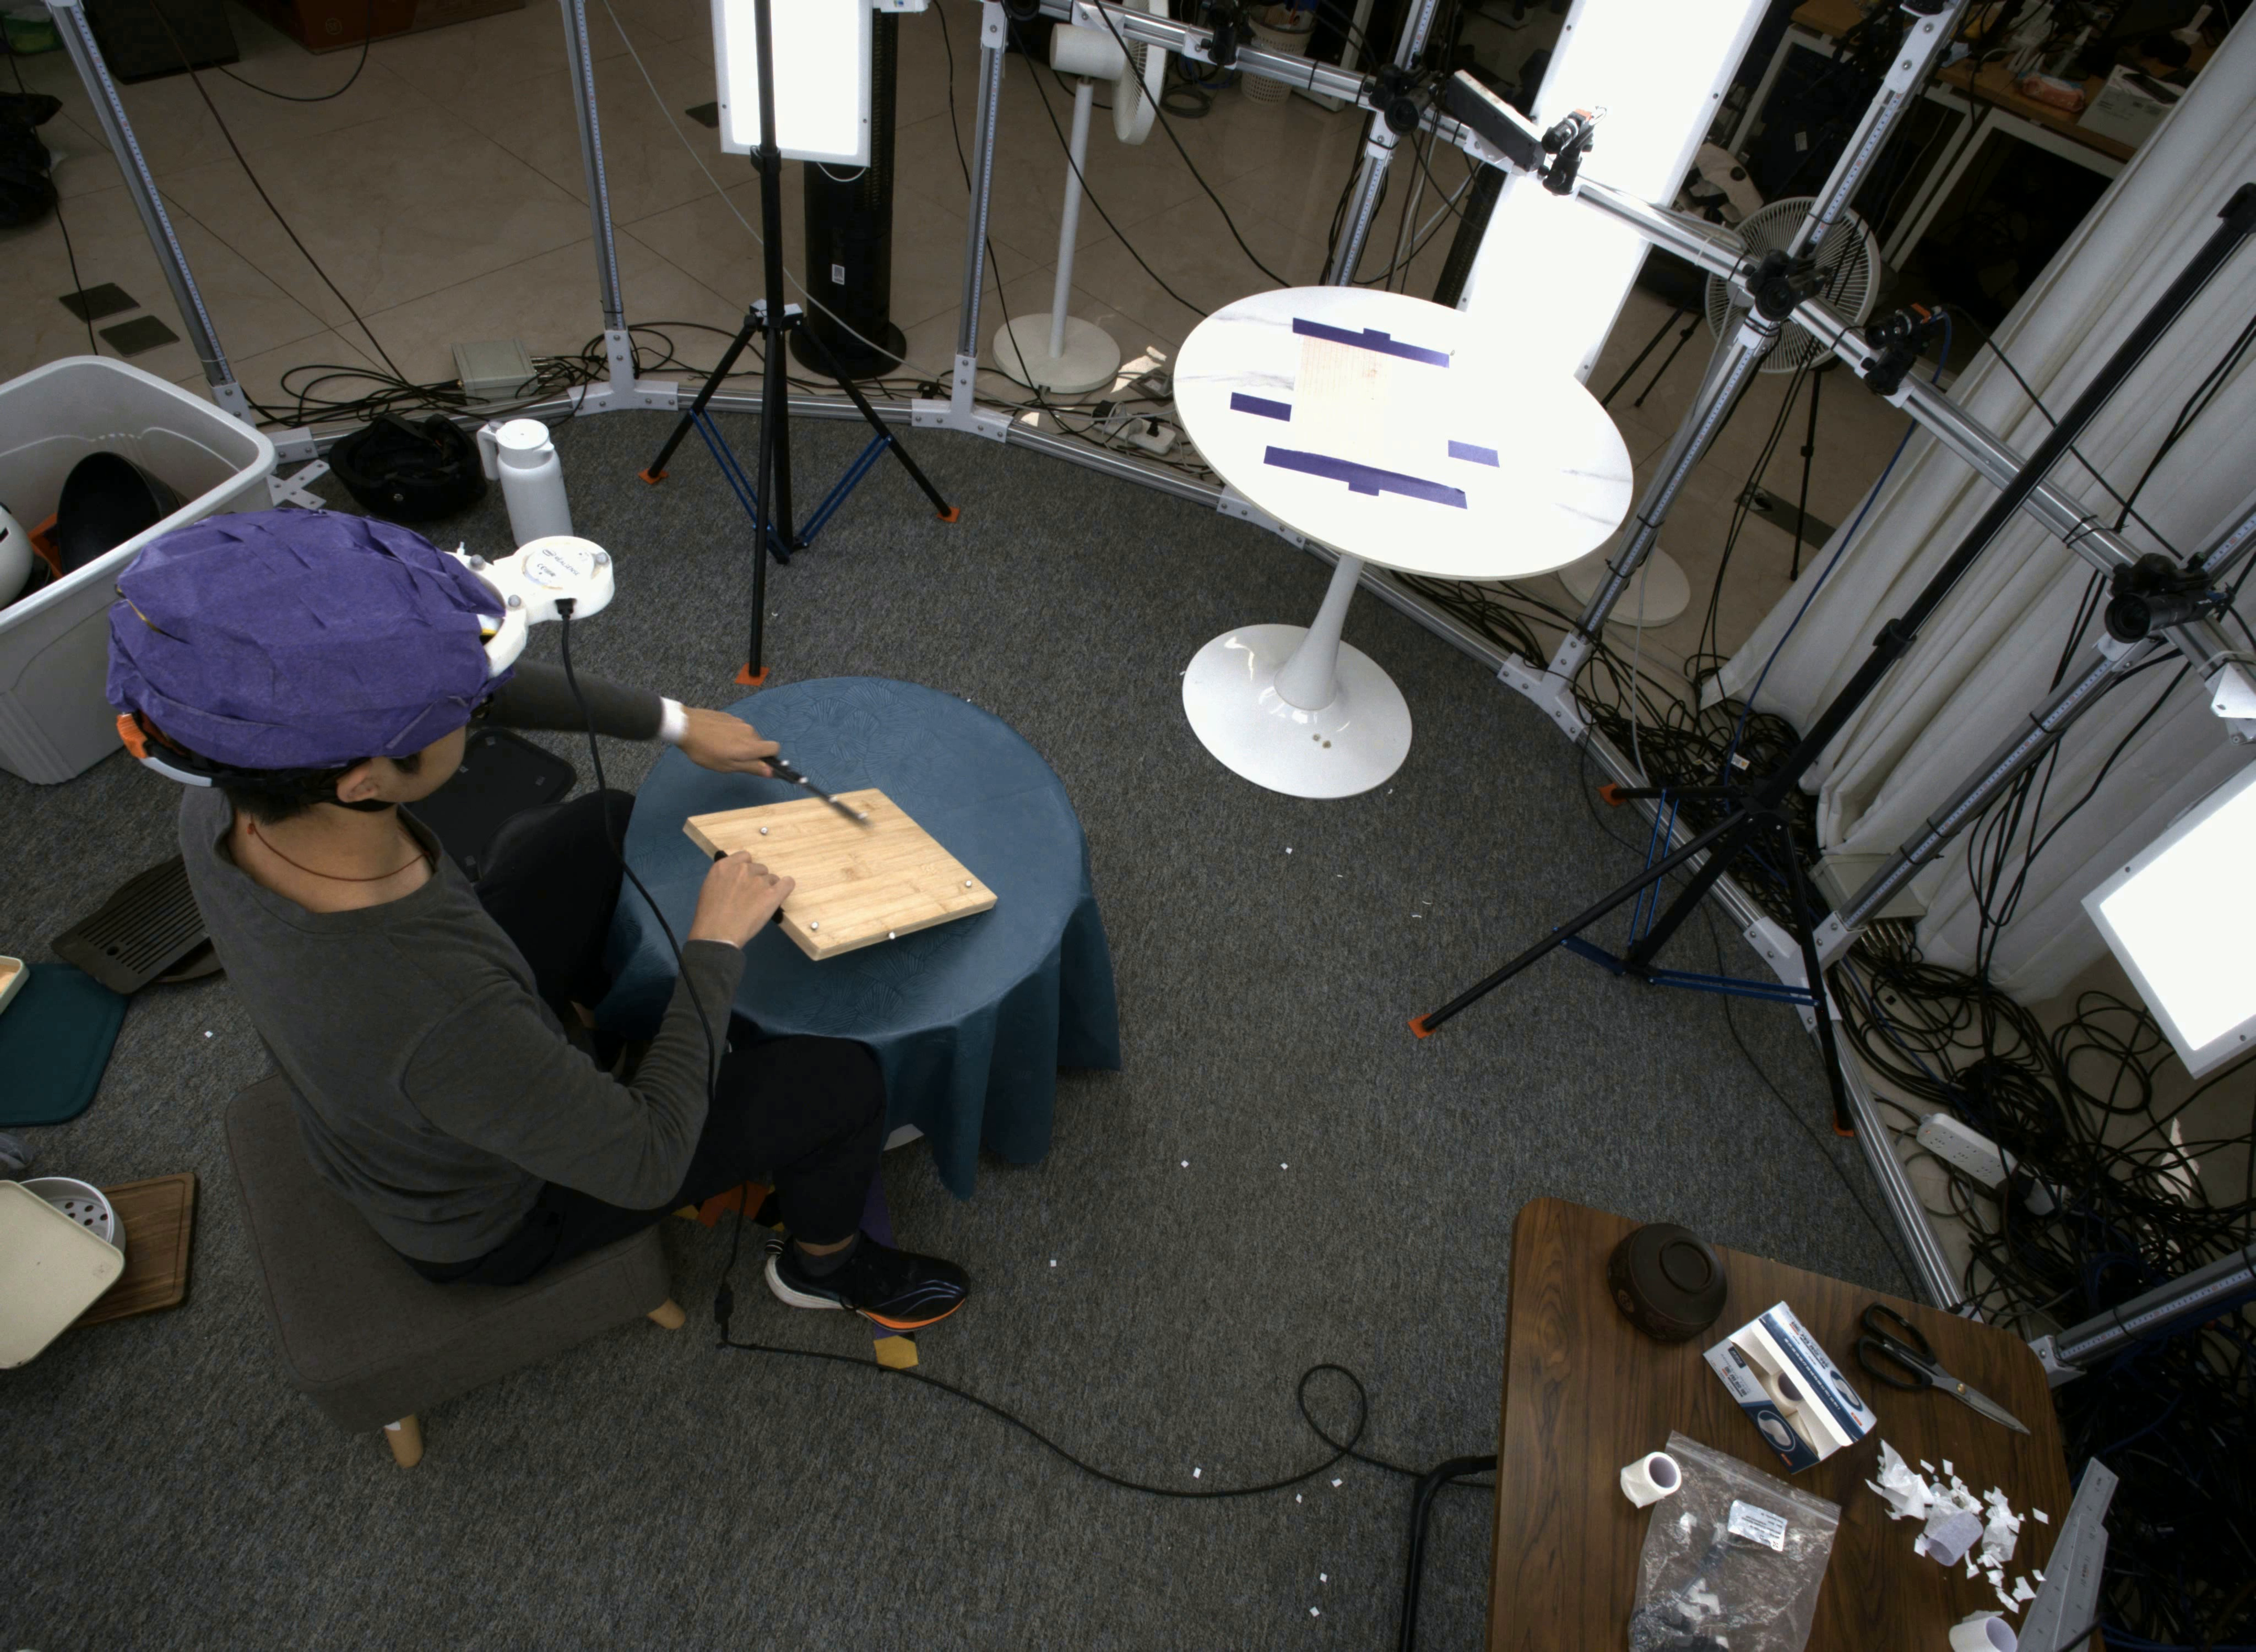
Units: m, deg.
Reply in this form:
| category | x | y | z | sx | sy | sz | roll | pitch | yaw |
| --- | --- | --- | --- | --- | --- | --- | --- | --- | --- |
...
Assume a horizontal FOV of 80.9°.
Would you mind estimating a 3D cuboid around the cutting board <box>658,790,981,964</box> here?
| category | x | y | z | sx | sy | sz | roll | pitch | yaw |
| --- | --- | --- | --- | --- | --- | --- | --- | --- | --- |
| cutting board | -0.364 | 0.050 | 1.589 | 0.245 | 0.024 | 0.352 | 39 | 23 | 17 |

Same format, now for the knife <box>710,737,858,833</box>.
| category | x | y | z | sx | sy | sz | roll | pitch | yaw |
| --- | --- | --- | --- | --- | --- | --- | --- | --- | --- |
| knife | -0.446 | -0.052 | 1.667 | 0.235 | 0.016 | 0.024 | 31 | 20 | 7 |
